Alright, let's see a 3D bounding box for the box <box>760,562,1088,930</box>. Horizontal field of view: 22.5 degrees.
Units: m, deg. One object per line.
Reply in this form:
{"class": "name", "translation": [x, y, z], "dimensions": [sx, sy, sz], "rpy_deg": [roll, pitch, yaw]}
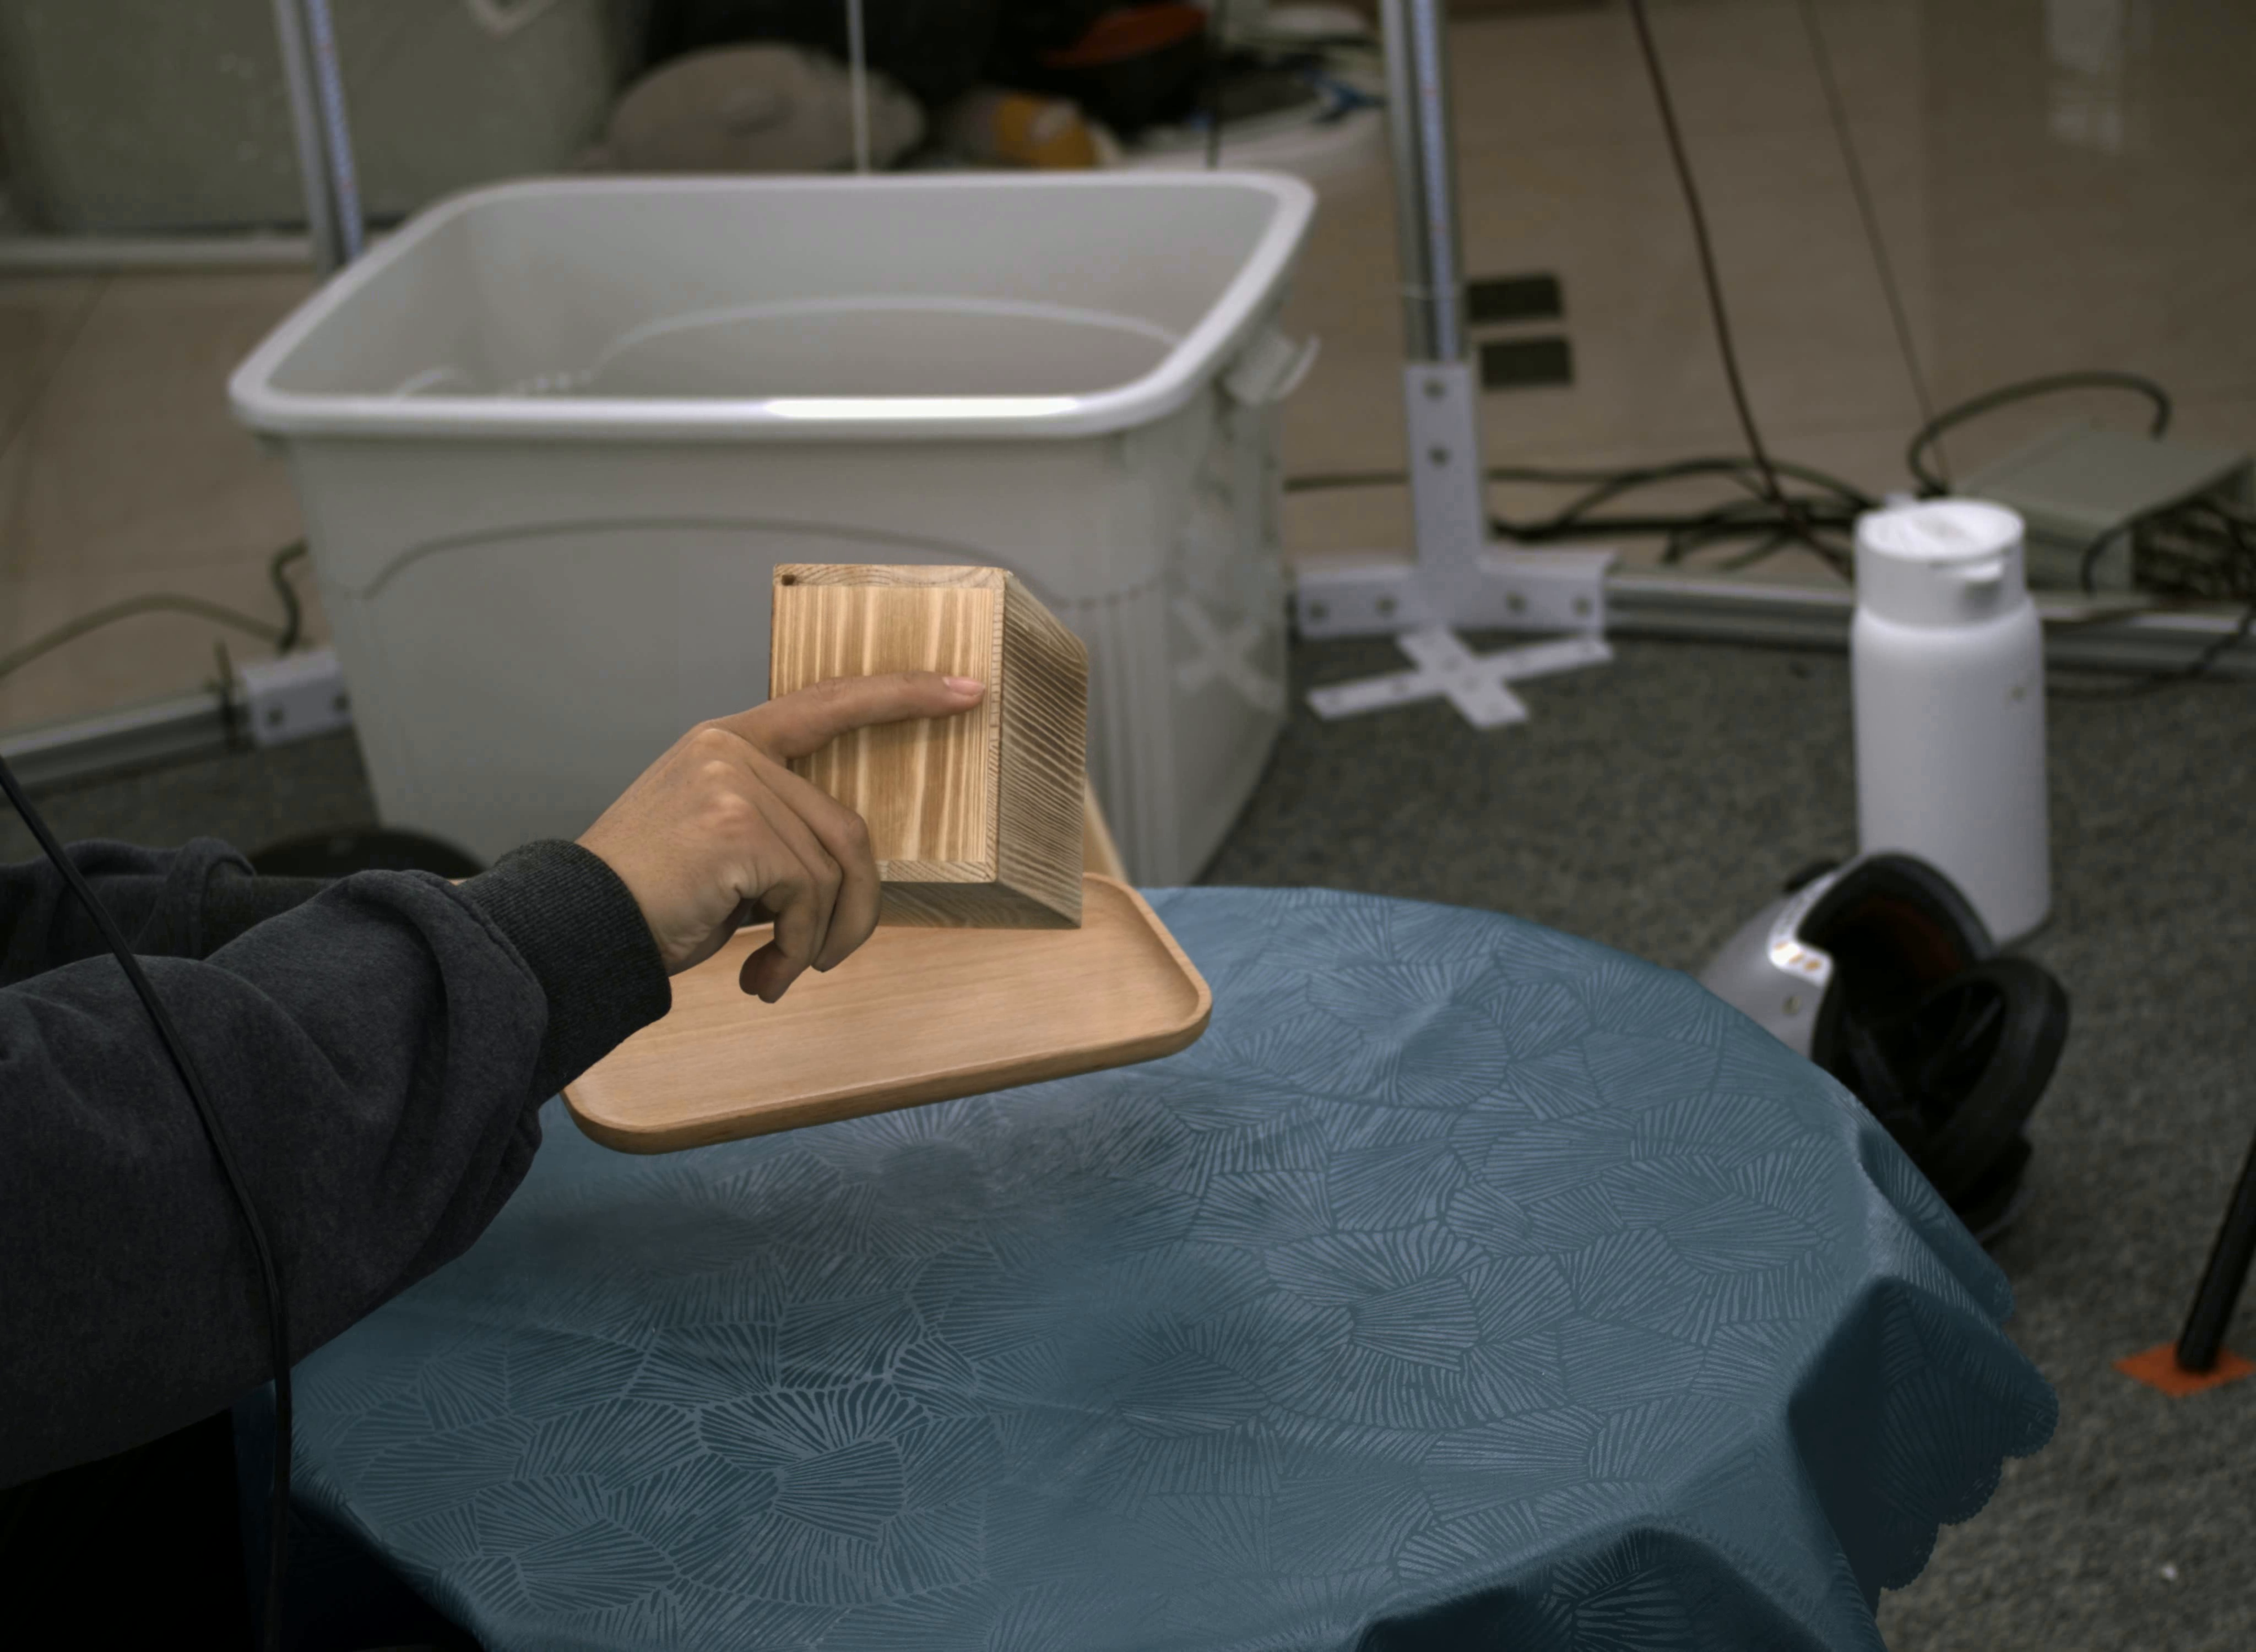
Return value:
{"class": "box", "translation": [-0.068, -0.025, 1.973], "dimensions": [0.080, 0.107, 0.212], "rpy_deg": [1, -5, 7]}

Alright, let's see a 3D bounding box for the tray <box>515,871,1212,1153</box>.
{"class": "tray", "translation": [-0.099, 0.069, 2.131], "dimensions": [0.250, 0.023, 0.128], "rpy_deg": [-10, 30, -18]}
